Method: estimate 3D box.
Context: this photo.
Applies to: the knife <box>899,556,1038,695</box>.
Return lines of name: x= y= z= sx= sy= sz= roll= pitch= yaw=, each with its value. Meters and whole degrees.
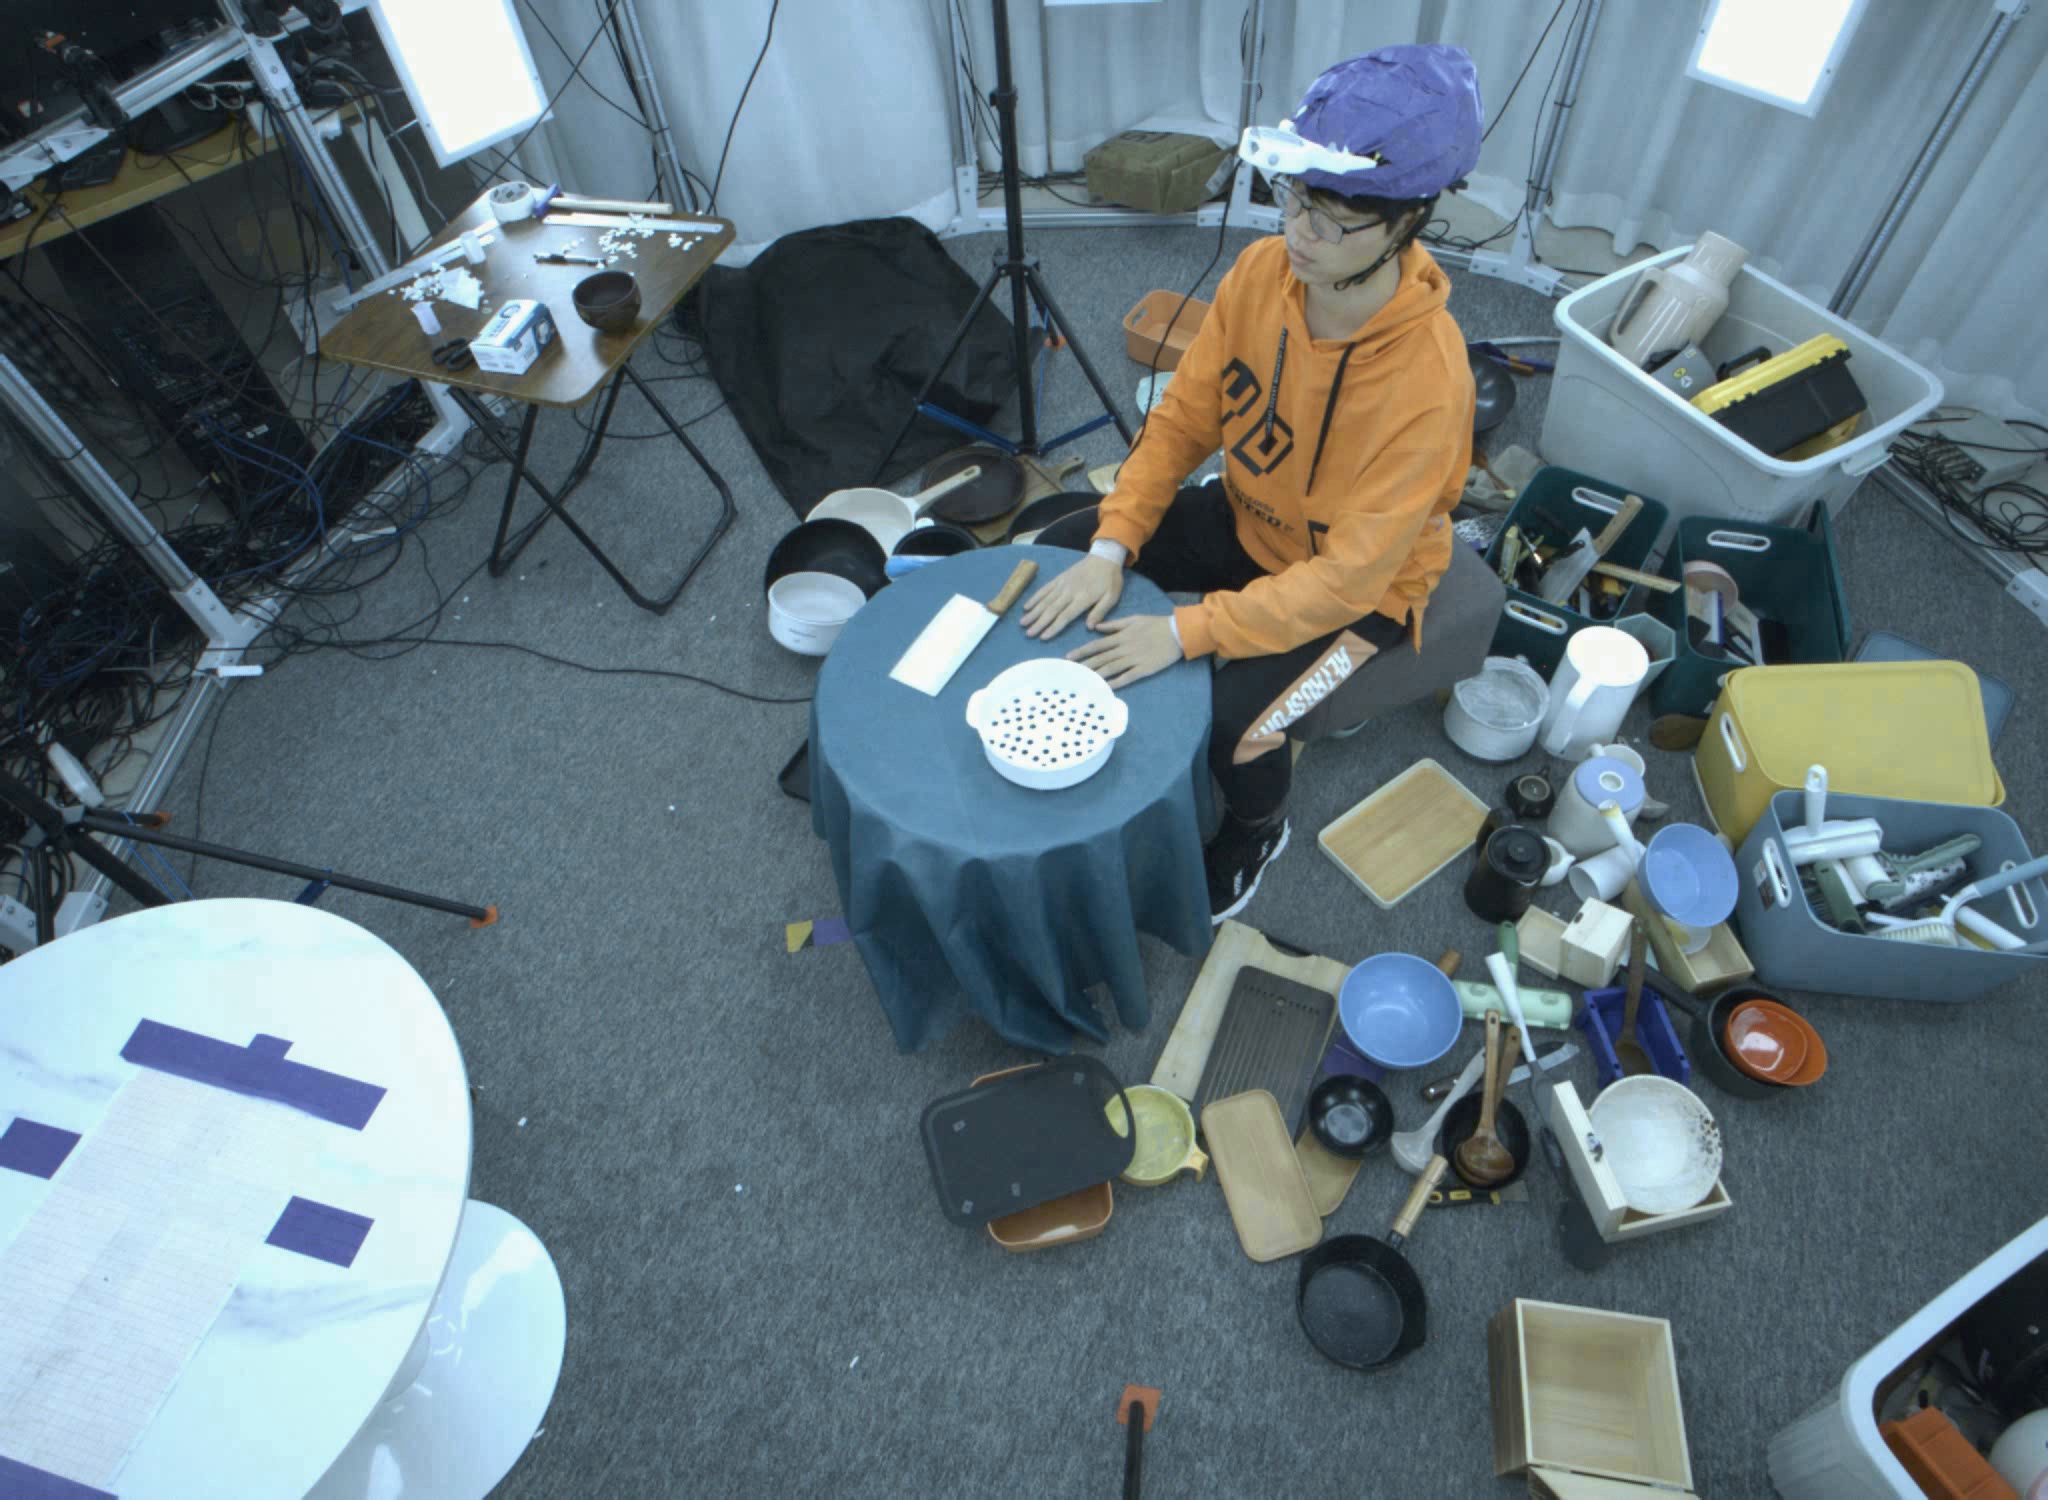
knife: x=-0.090 y=-0.207 z=1.927 sx=0.091 sy=0.021 sz=0.306 roll=25 pitch=62 yaw=21

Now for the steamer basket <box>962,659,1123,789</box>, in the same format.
steamer basket: x=0.029 y=-0.036 z=1.769 sx=0.229 sy=0.070 sz=0.200 roll=4 pitch=54 yaw=7
